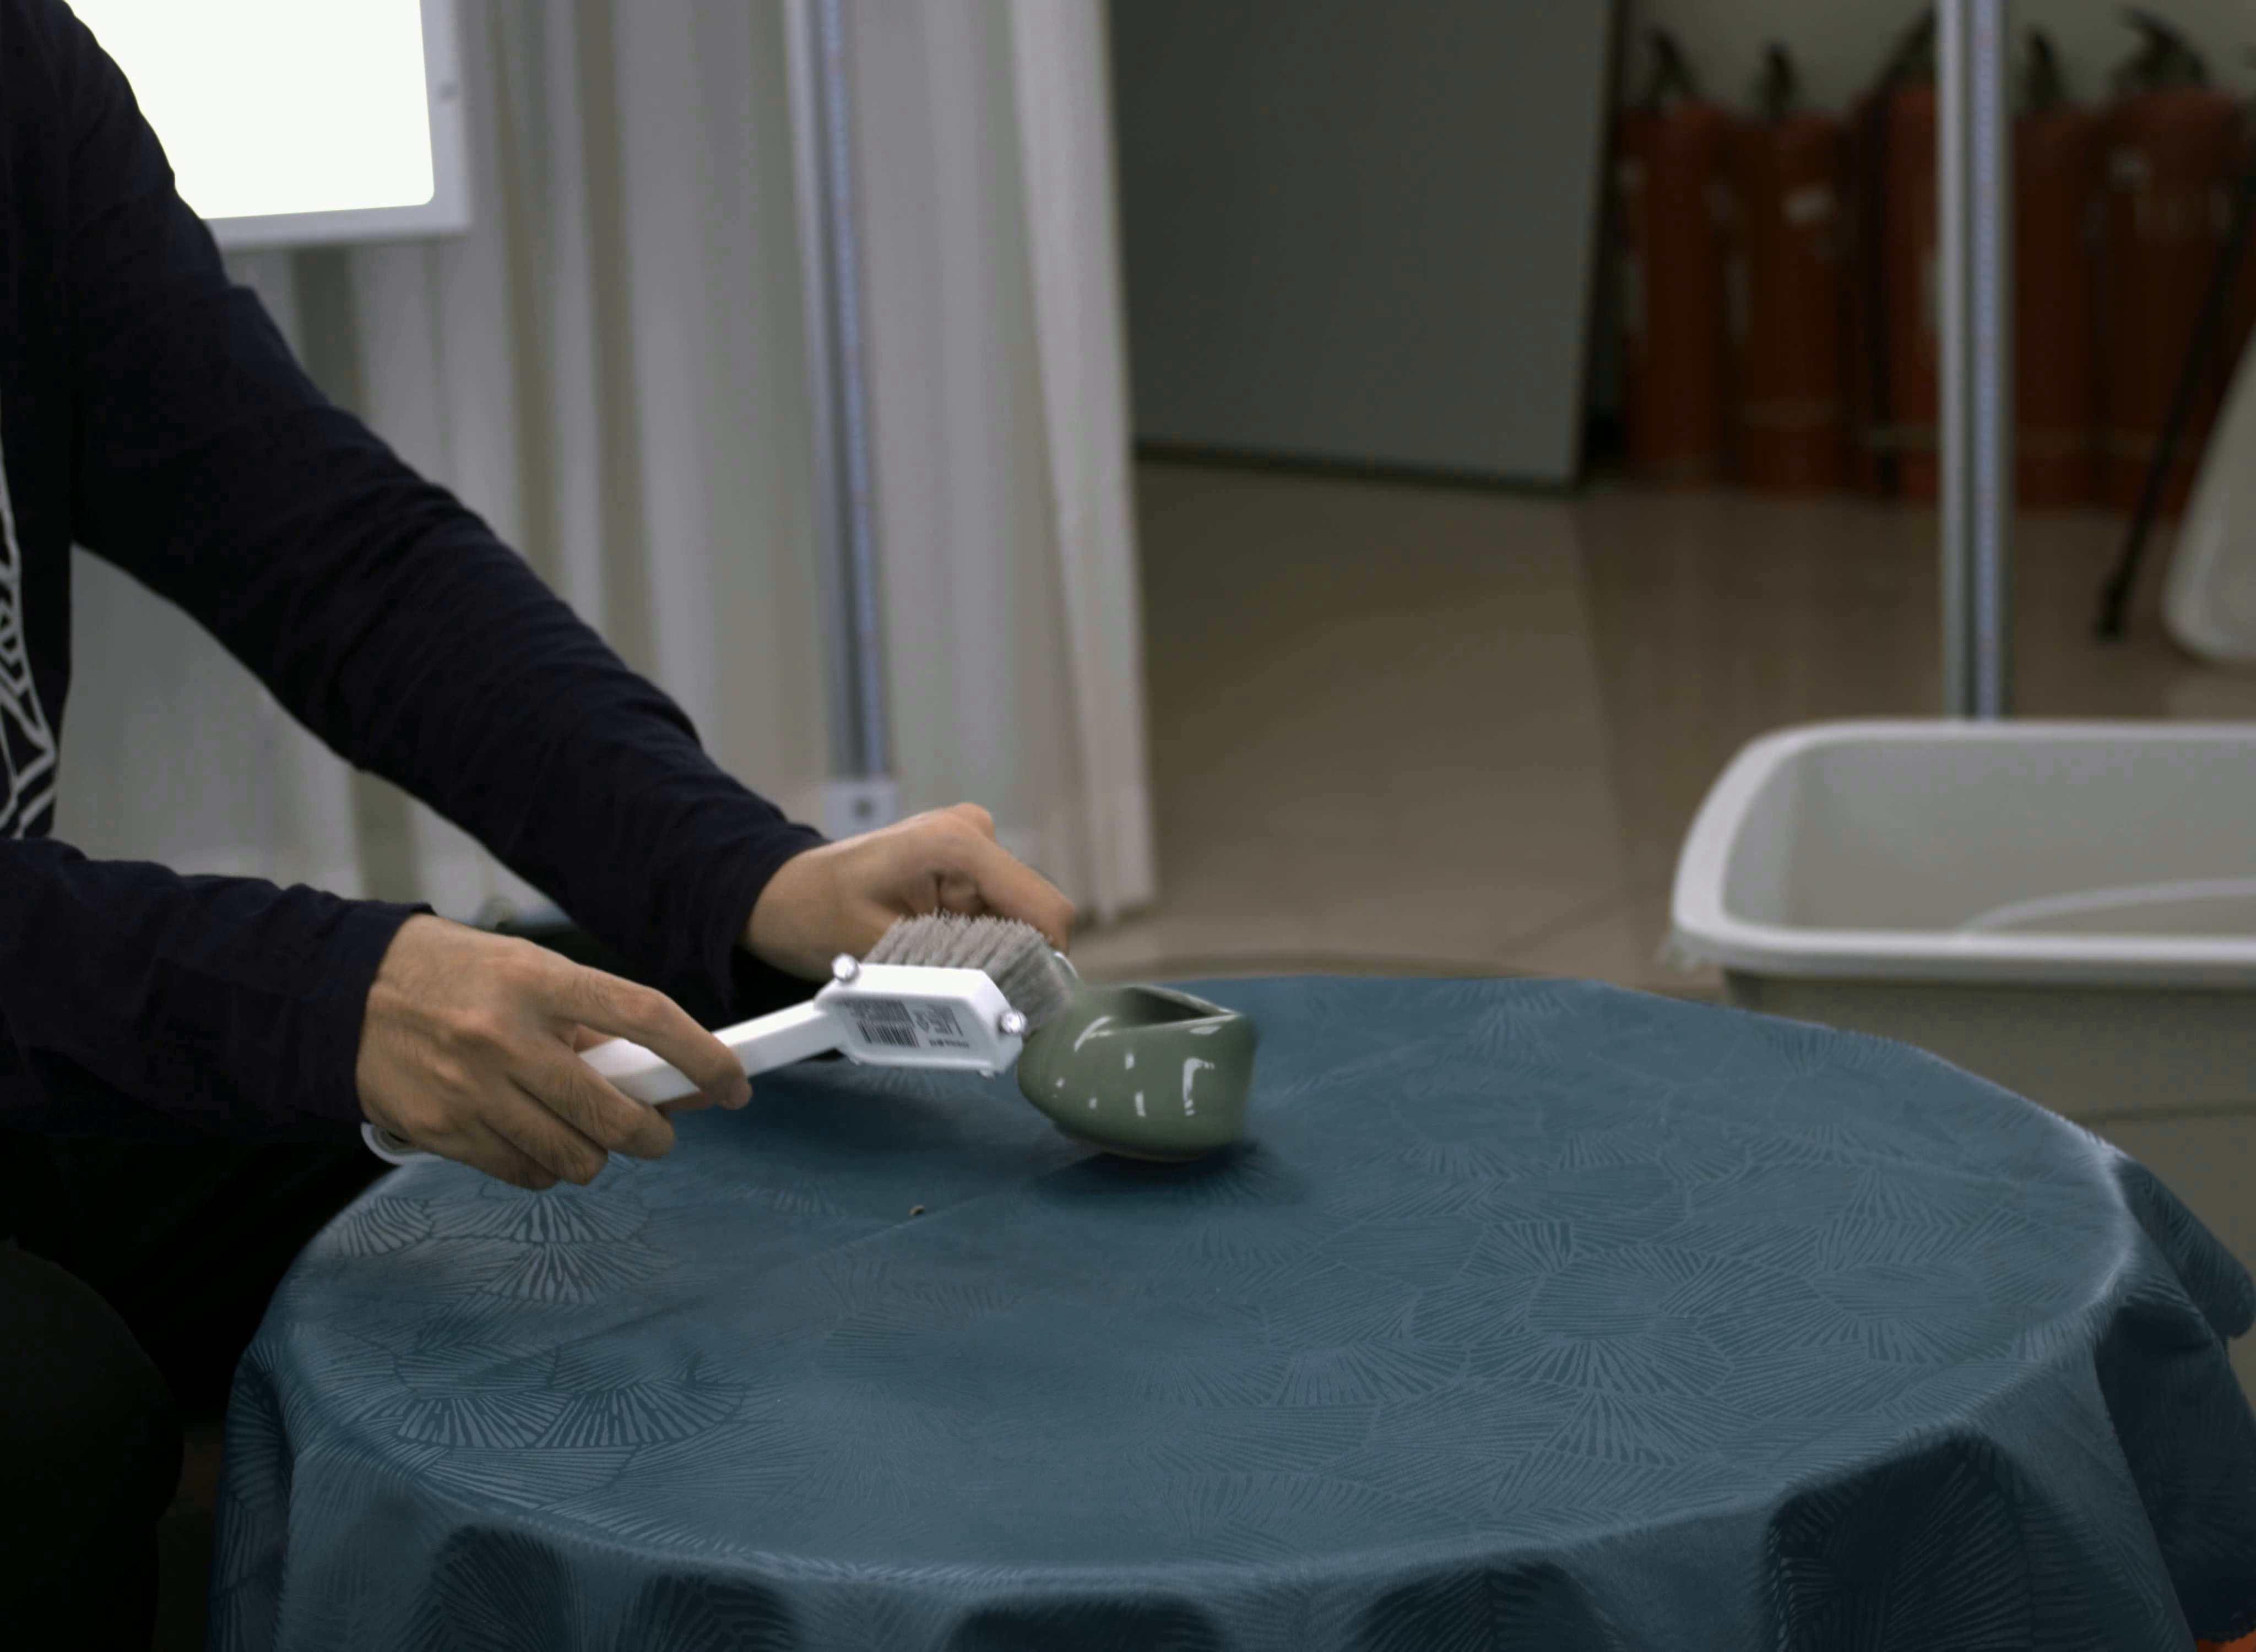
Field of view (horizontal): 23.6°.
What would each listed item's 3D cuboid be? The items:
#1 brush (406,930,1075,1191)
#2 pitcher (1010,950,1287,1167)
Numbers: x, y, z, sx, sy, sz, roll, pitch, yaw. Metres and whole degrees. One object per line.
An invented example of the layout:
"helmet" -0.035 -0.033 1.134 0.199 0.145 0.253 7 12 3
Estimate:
"brush" -0.125 0.073 1.706 0.245 0.034 0.050 -13 41 31
"pitcher" -0.001 0.078 1.806 0.113 0.057 0.083 13 11 26
